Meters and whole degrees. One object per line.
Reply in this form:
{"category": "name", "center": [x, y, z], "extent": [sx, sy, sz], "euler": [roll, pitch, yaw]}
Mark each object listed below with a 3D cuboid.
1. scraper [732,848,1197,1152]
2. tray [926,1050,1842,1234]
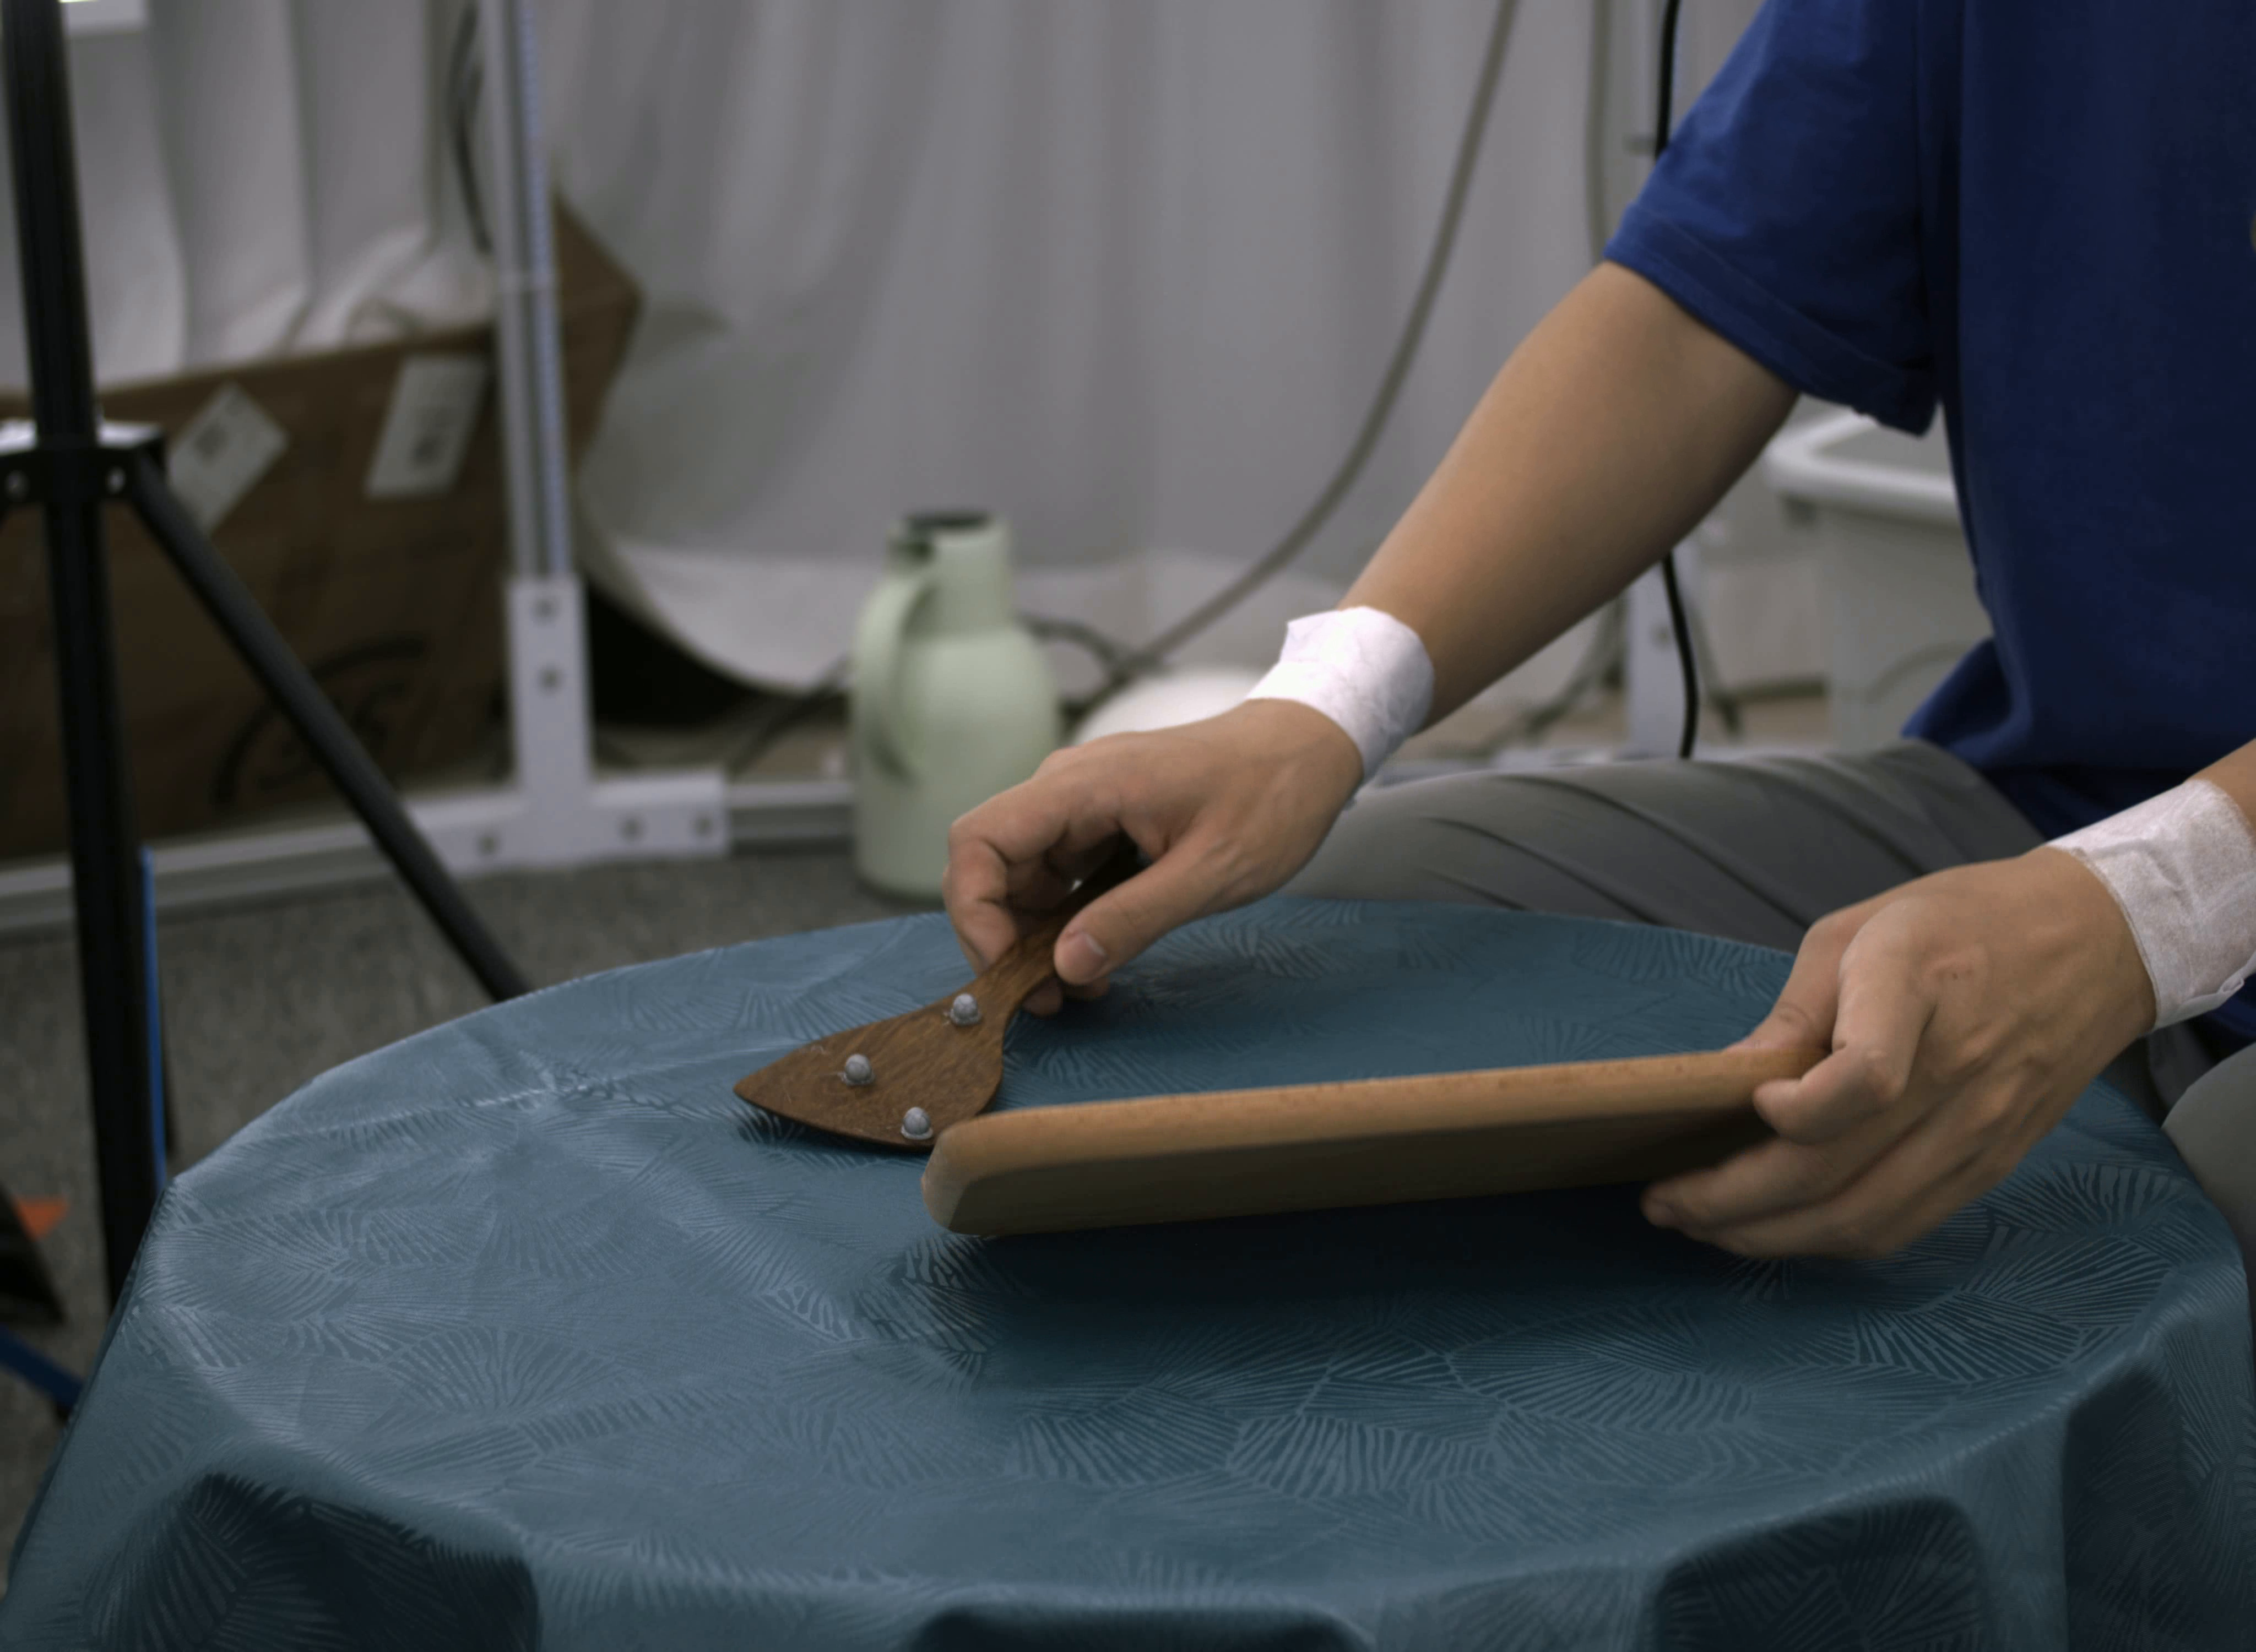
{"category": "scraper", "center": [-0.040, 0.053, 1.689], "extent": [0.077, 0.011, 0.208], "euler": [14, 31, 29]}
{"category": "tray", "center": [0.070, 0.090, 1.484], "extent": [0.248, 0.023, 0.130], "euler": [-4, -10, -5]}
